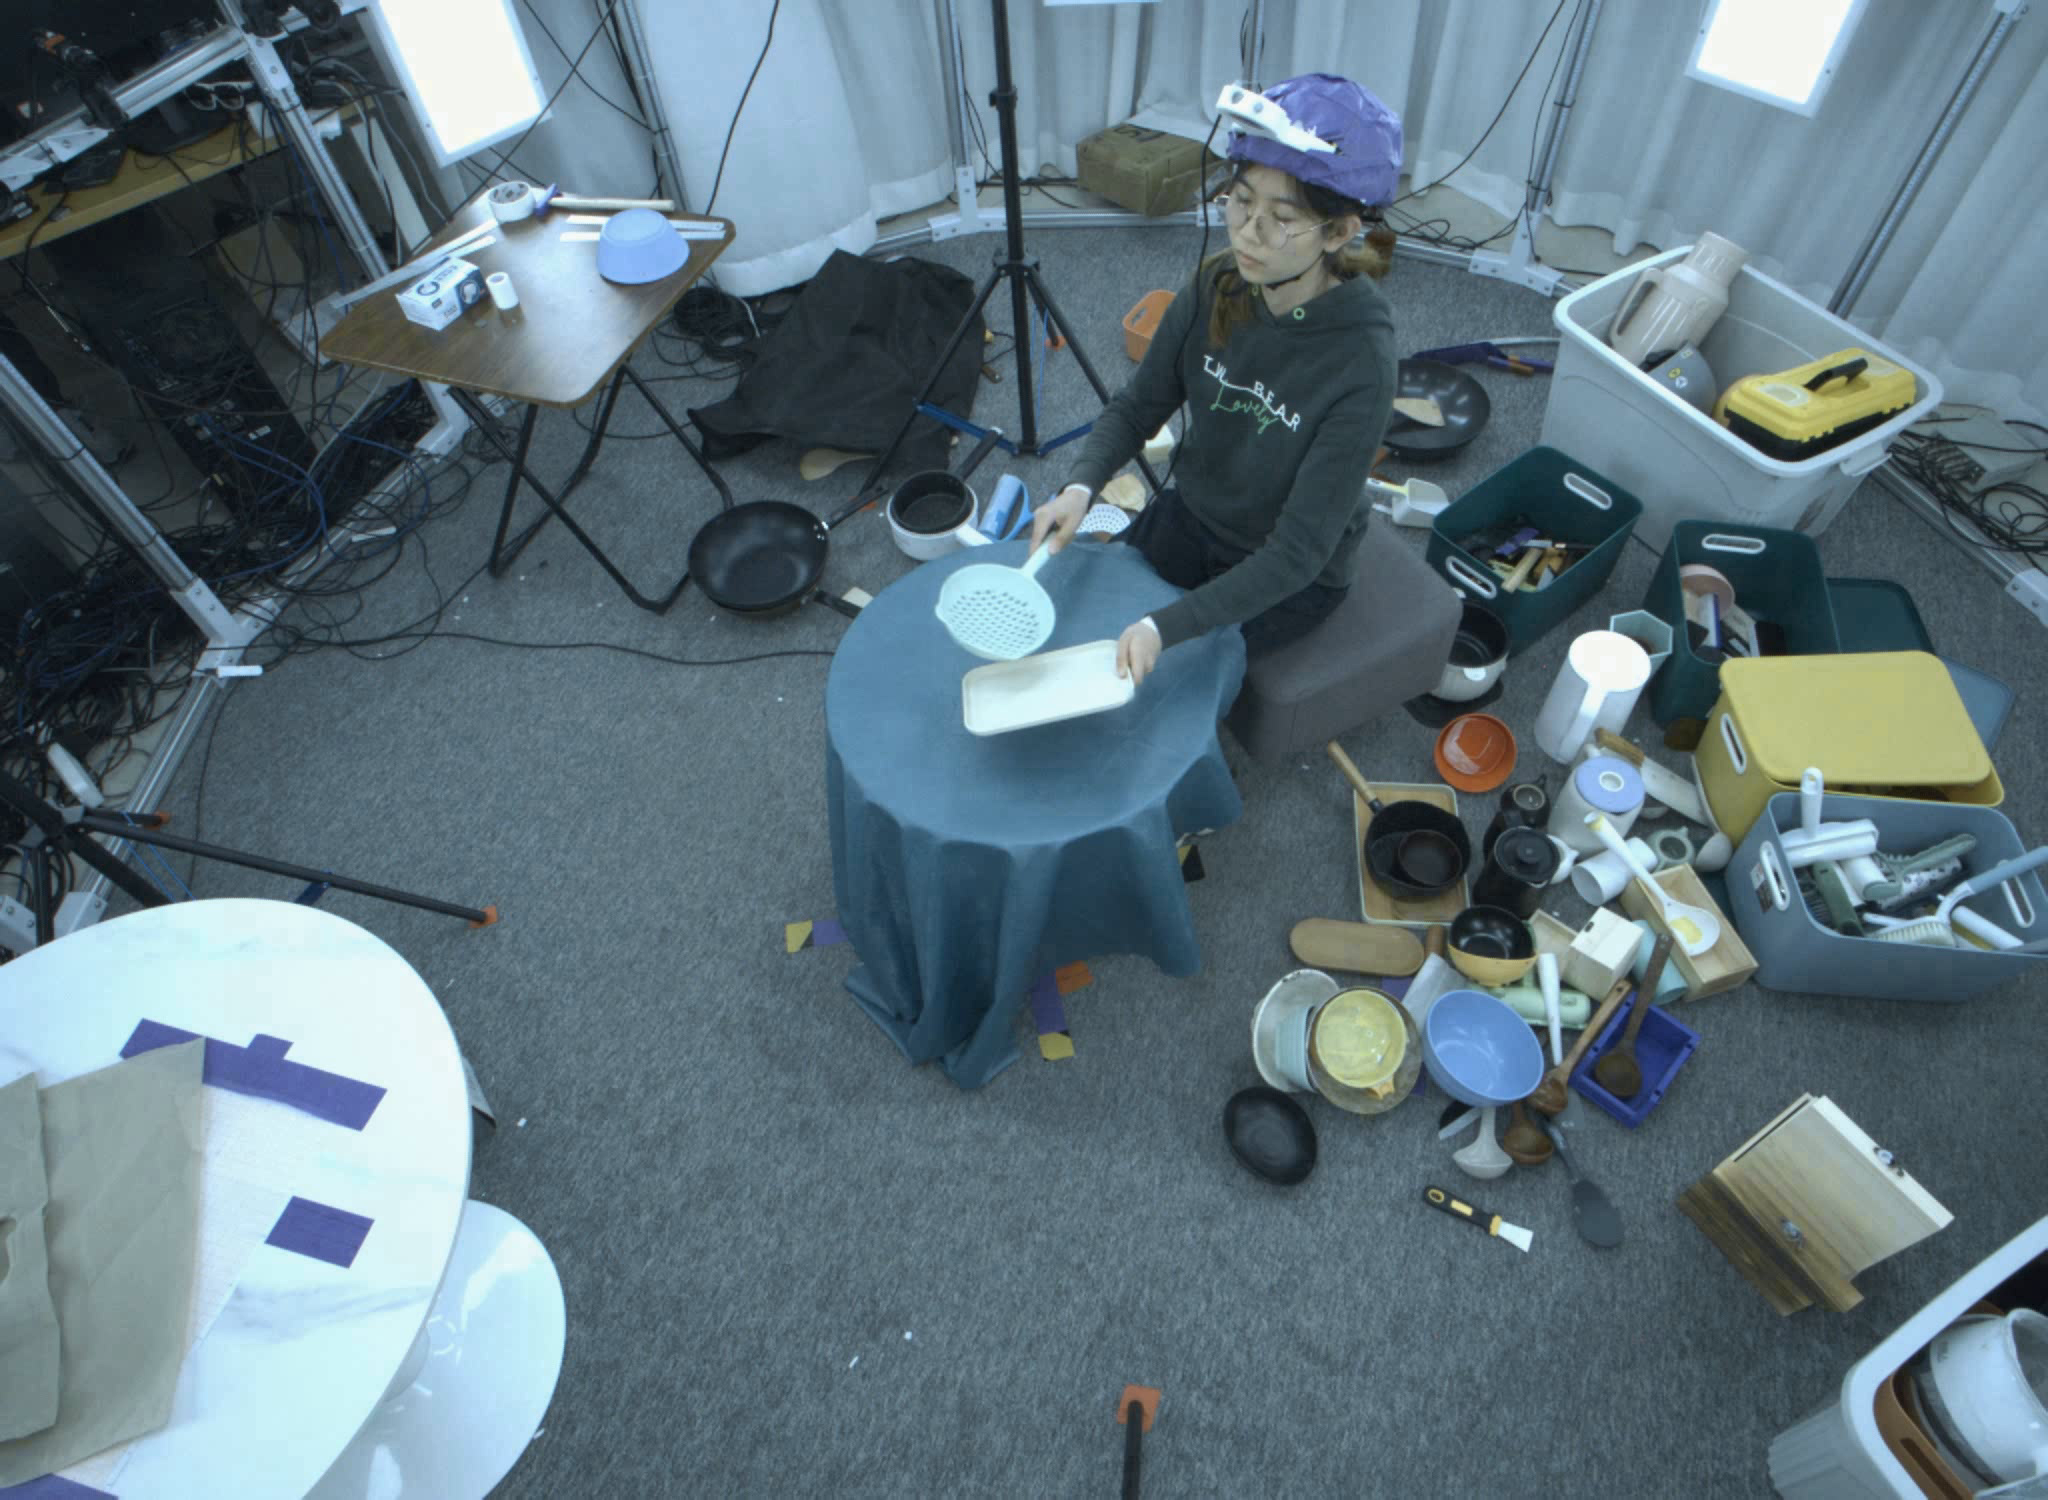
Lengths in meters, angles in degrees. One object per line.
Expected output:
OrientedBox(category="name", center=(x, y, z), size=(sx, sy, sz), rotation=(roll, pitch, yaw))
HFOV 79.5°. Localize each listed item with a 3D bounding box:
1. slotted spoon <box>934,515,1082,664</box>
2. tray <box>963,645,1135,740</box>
OrientedBox(category="slotted spoon", center=(0.002, -0.257, 1.829), size=(0.169, 0.075, 0.360), rotation=(33, 61, 2))
OrientedBox(category="tray", center=(0.033, -0.081, 1.737), size=(0.239, 0.018, 0.169), rotation=(-11, 35, 2))
